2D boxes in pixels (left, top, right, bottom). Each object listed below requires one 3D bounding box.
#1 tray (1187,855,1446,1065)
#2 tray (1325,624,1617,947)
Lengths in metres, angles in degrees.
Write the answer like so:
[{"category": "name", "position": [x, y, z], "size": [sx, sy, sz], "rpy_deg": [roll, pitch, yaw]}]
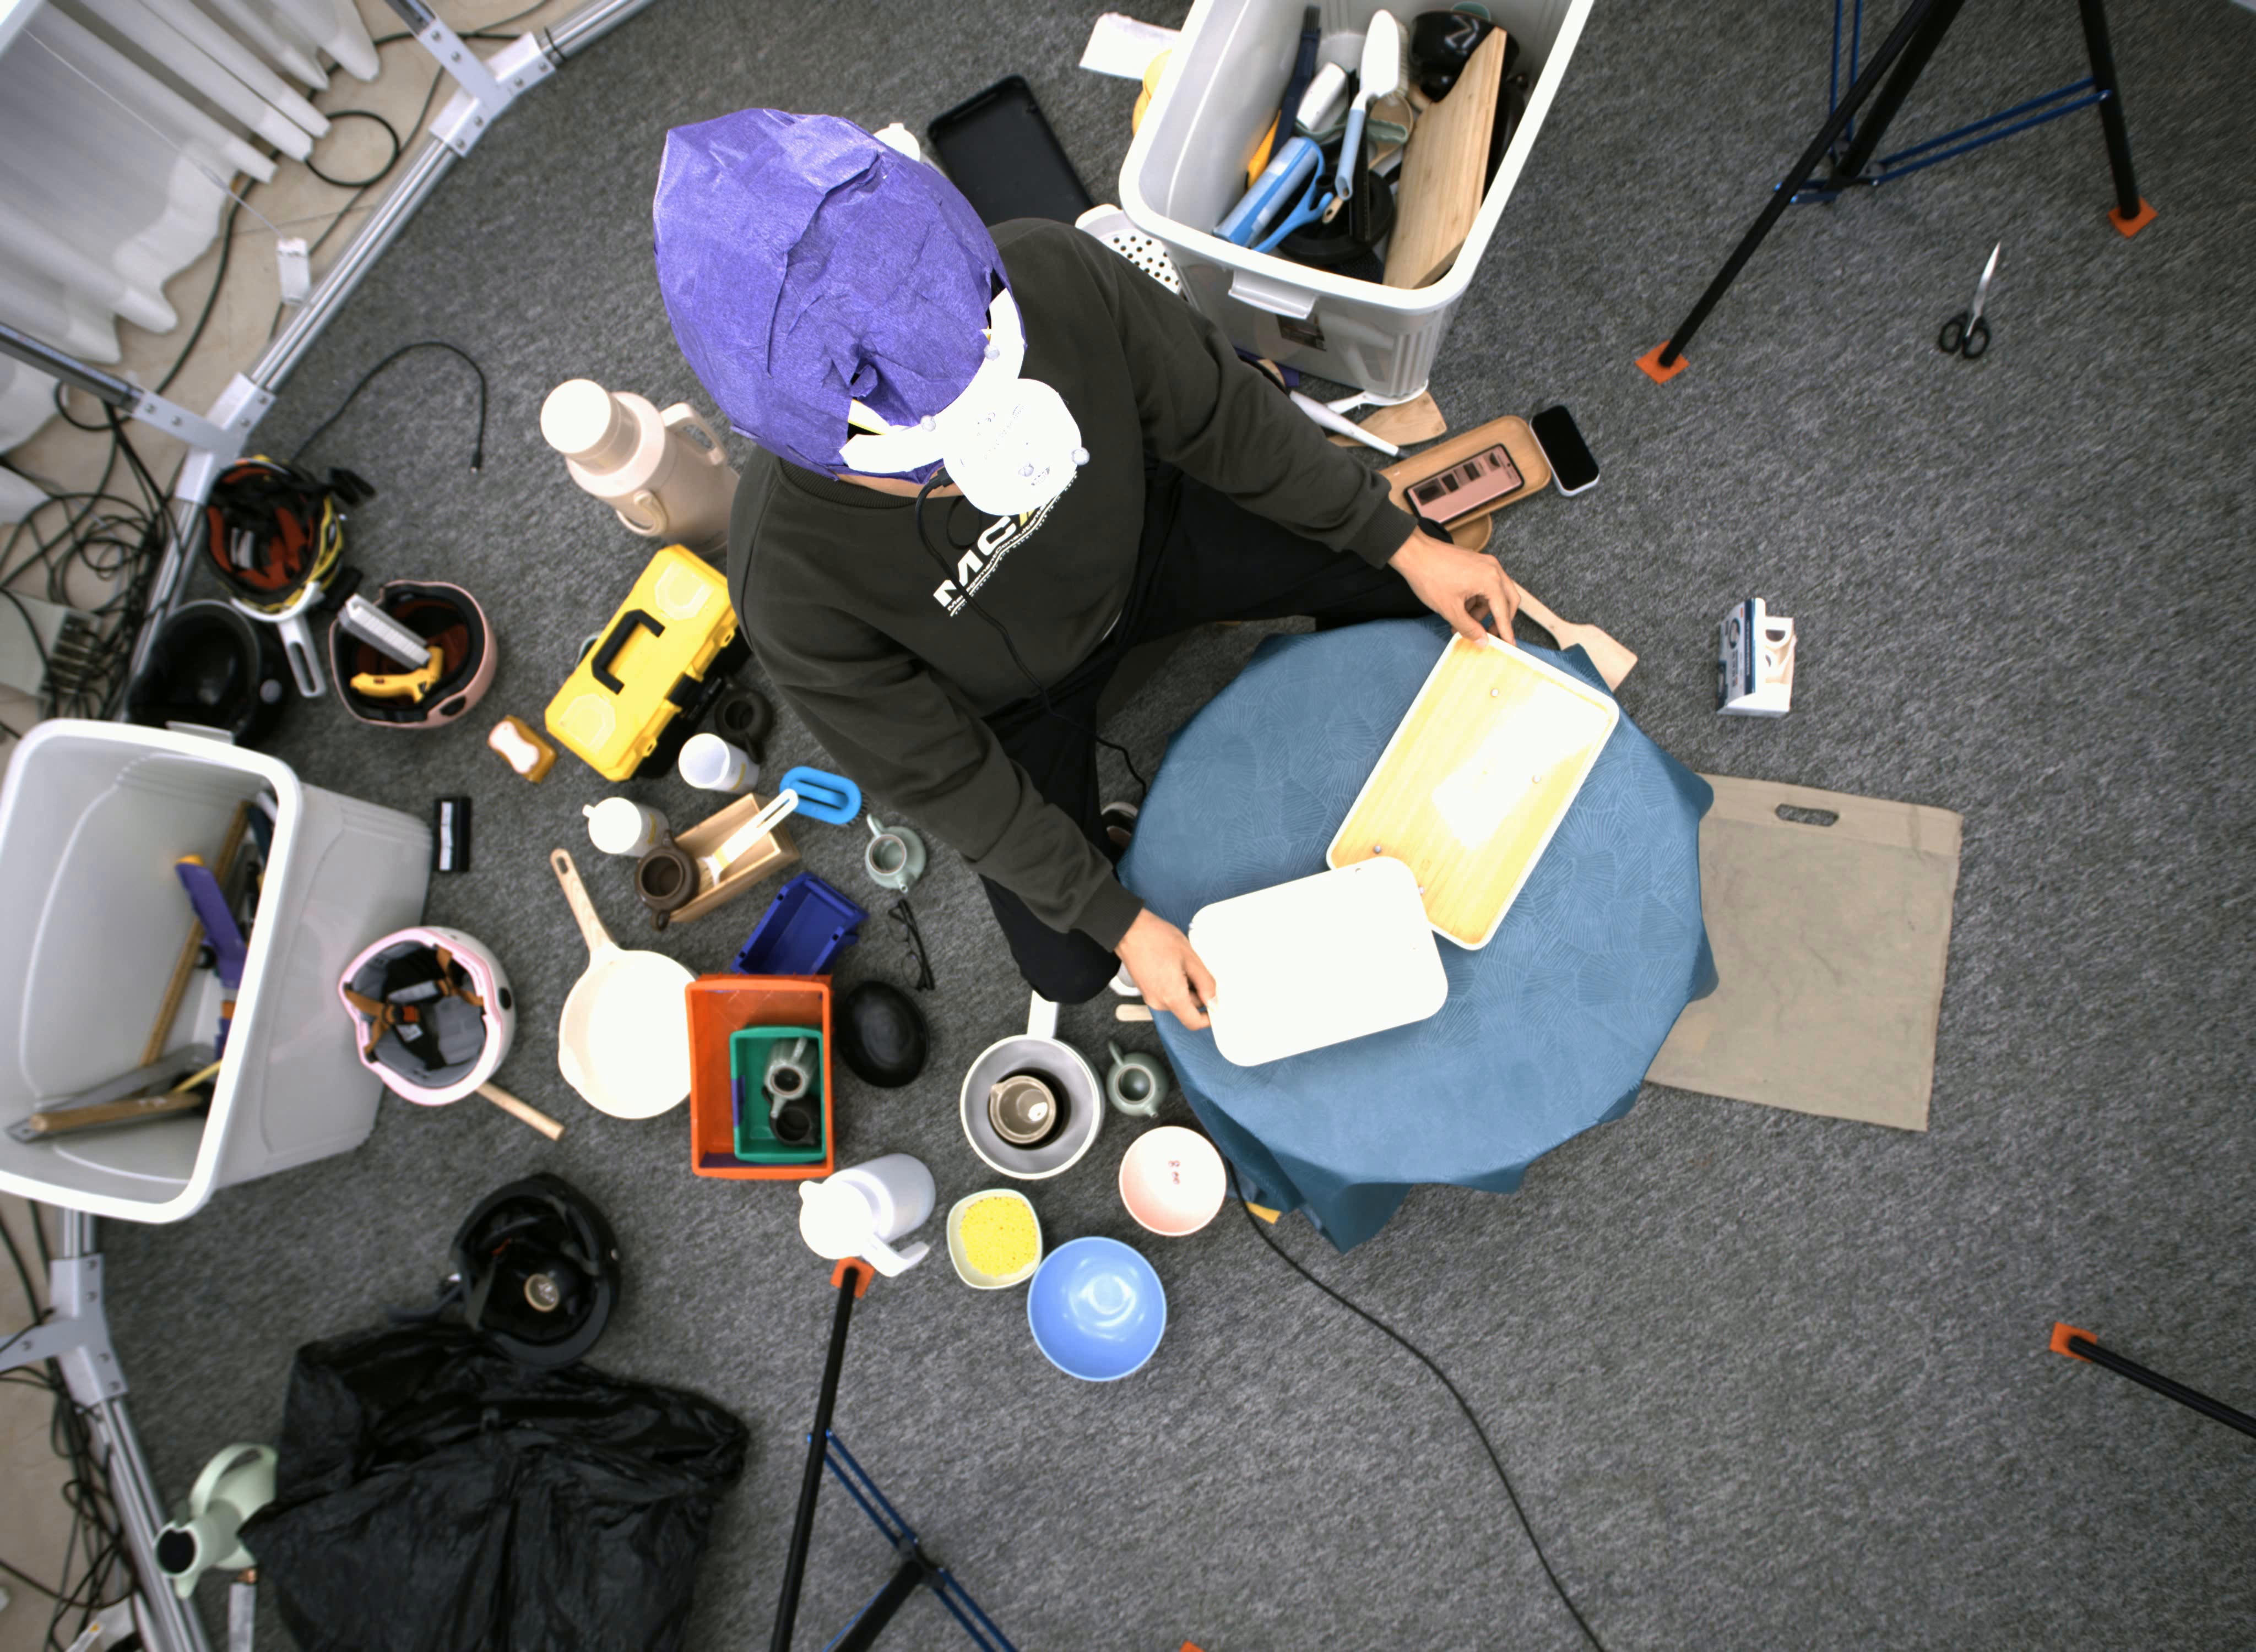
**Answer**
[{"category": "tray", "position": [0.191, 0.136, 1.410], "size": [0.241, 0.017, 0.169], "rpy_deg": [-16, 79, 7]}, {"category": "tray", "position": [0.357, -0.045, 1.437], "size": [0.191, 0.027, 0.300], "rpy_deg": [31, 92, 11]}]
